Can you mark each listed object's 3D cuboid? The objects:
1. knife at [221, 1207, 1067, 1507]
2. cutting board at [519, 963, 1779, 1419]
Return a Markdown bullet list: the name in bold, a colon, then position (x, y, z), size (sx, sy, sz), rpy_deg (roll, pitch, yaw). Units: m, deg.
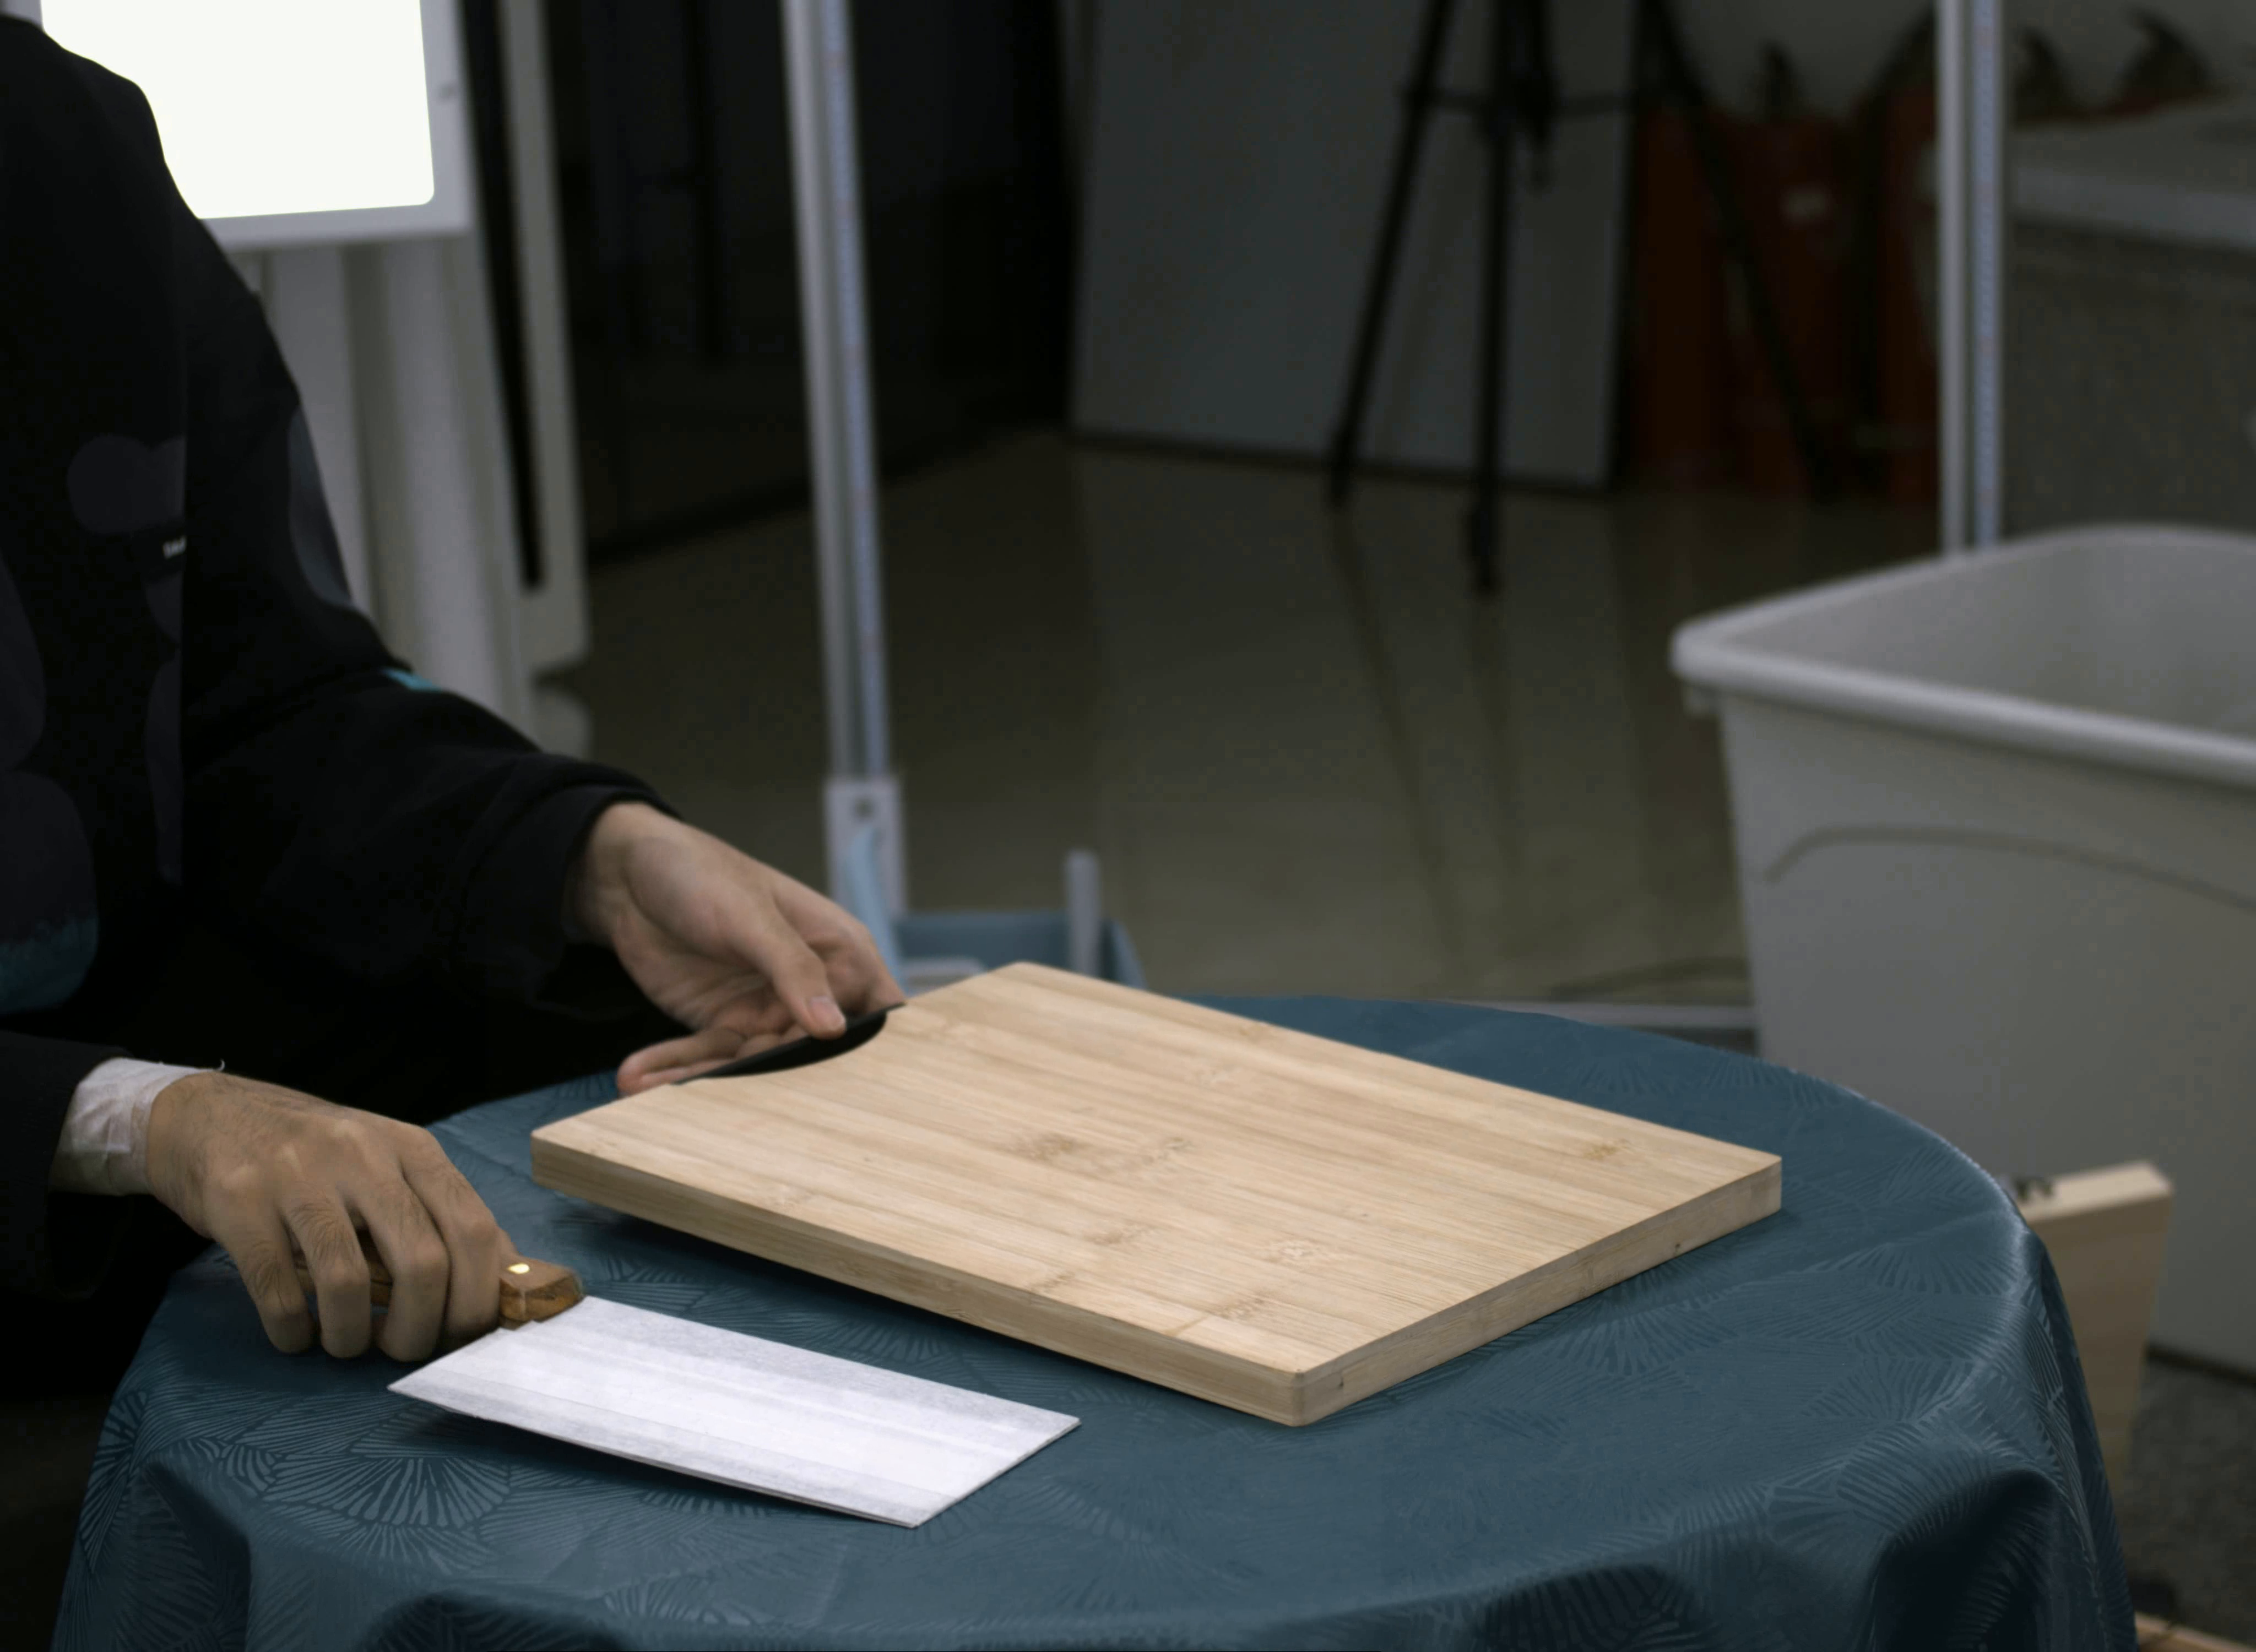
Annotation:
- **knife**: position (-0.163, 0.160, 1.608), size (0.307, 0.021, 0.091), rpy_deg (10, 20, 32)
- **cutting board**: position (0.003, 0.111, 1.746), size (0.352, 0.024, 0.246), rpy_deg (12, 21, 42)
